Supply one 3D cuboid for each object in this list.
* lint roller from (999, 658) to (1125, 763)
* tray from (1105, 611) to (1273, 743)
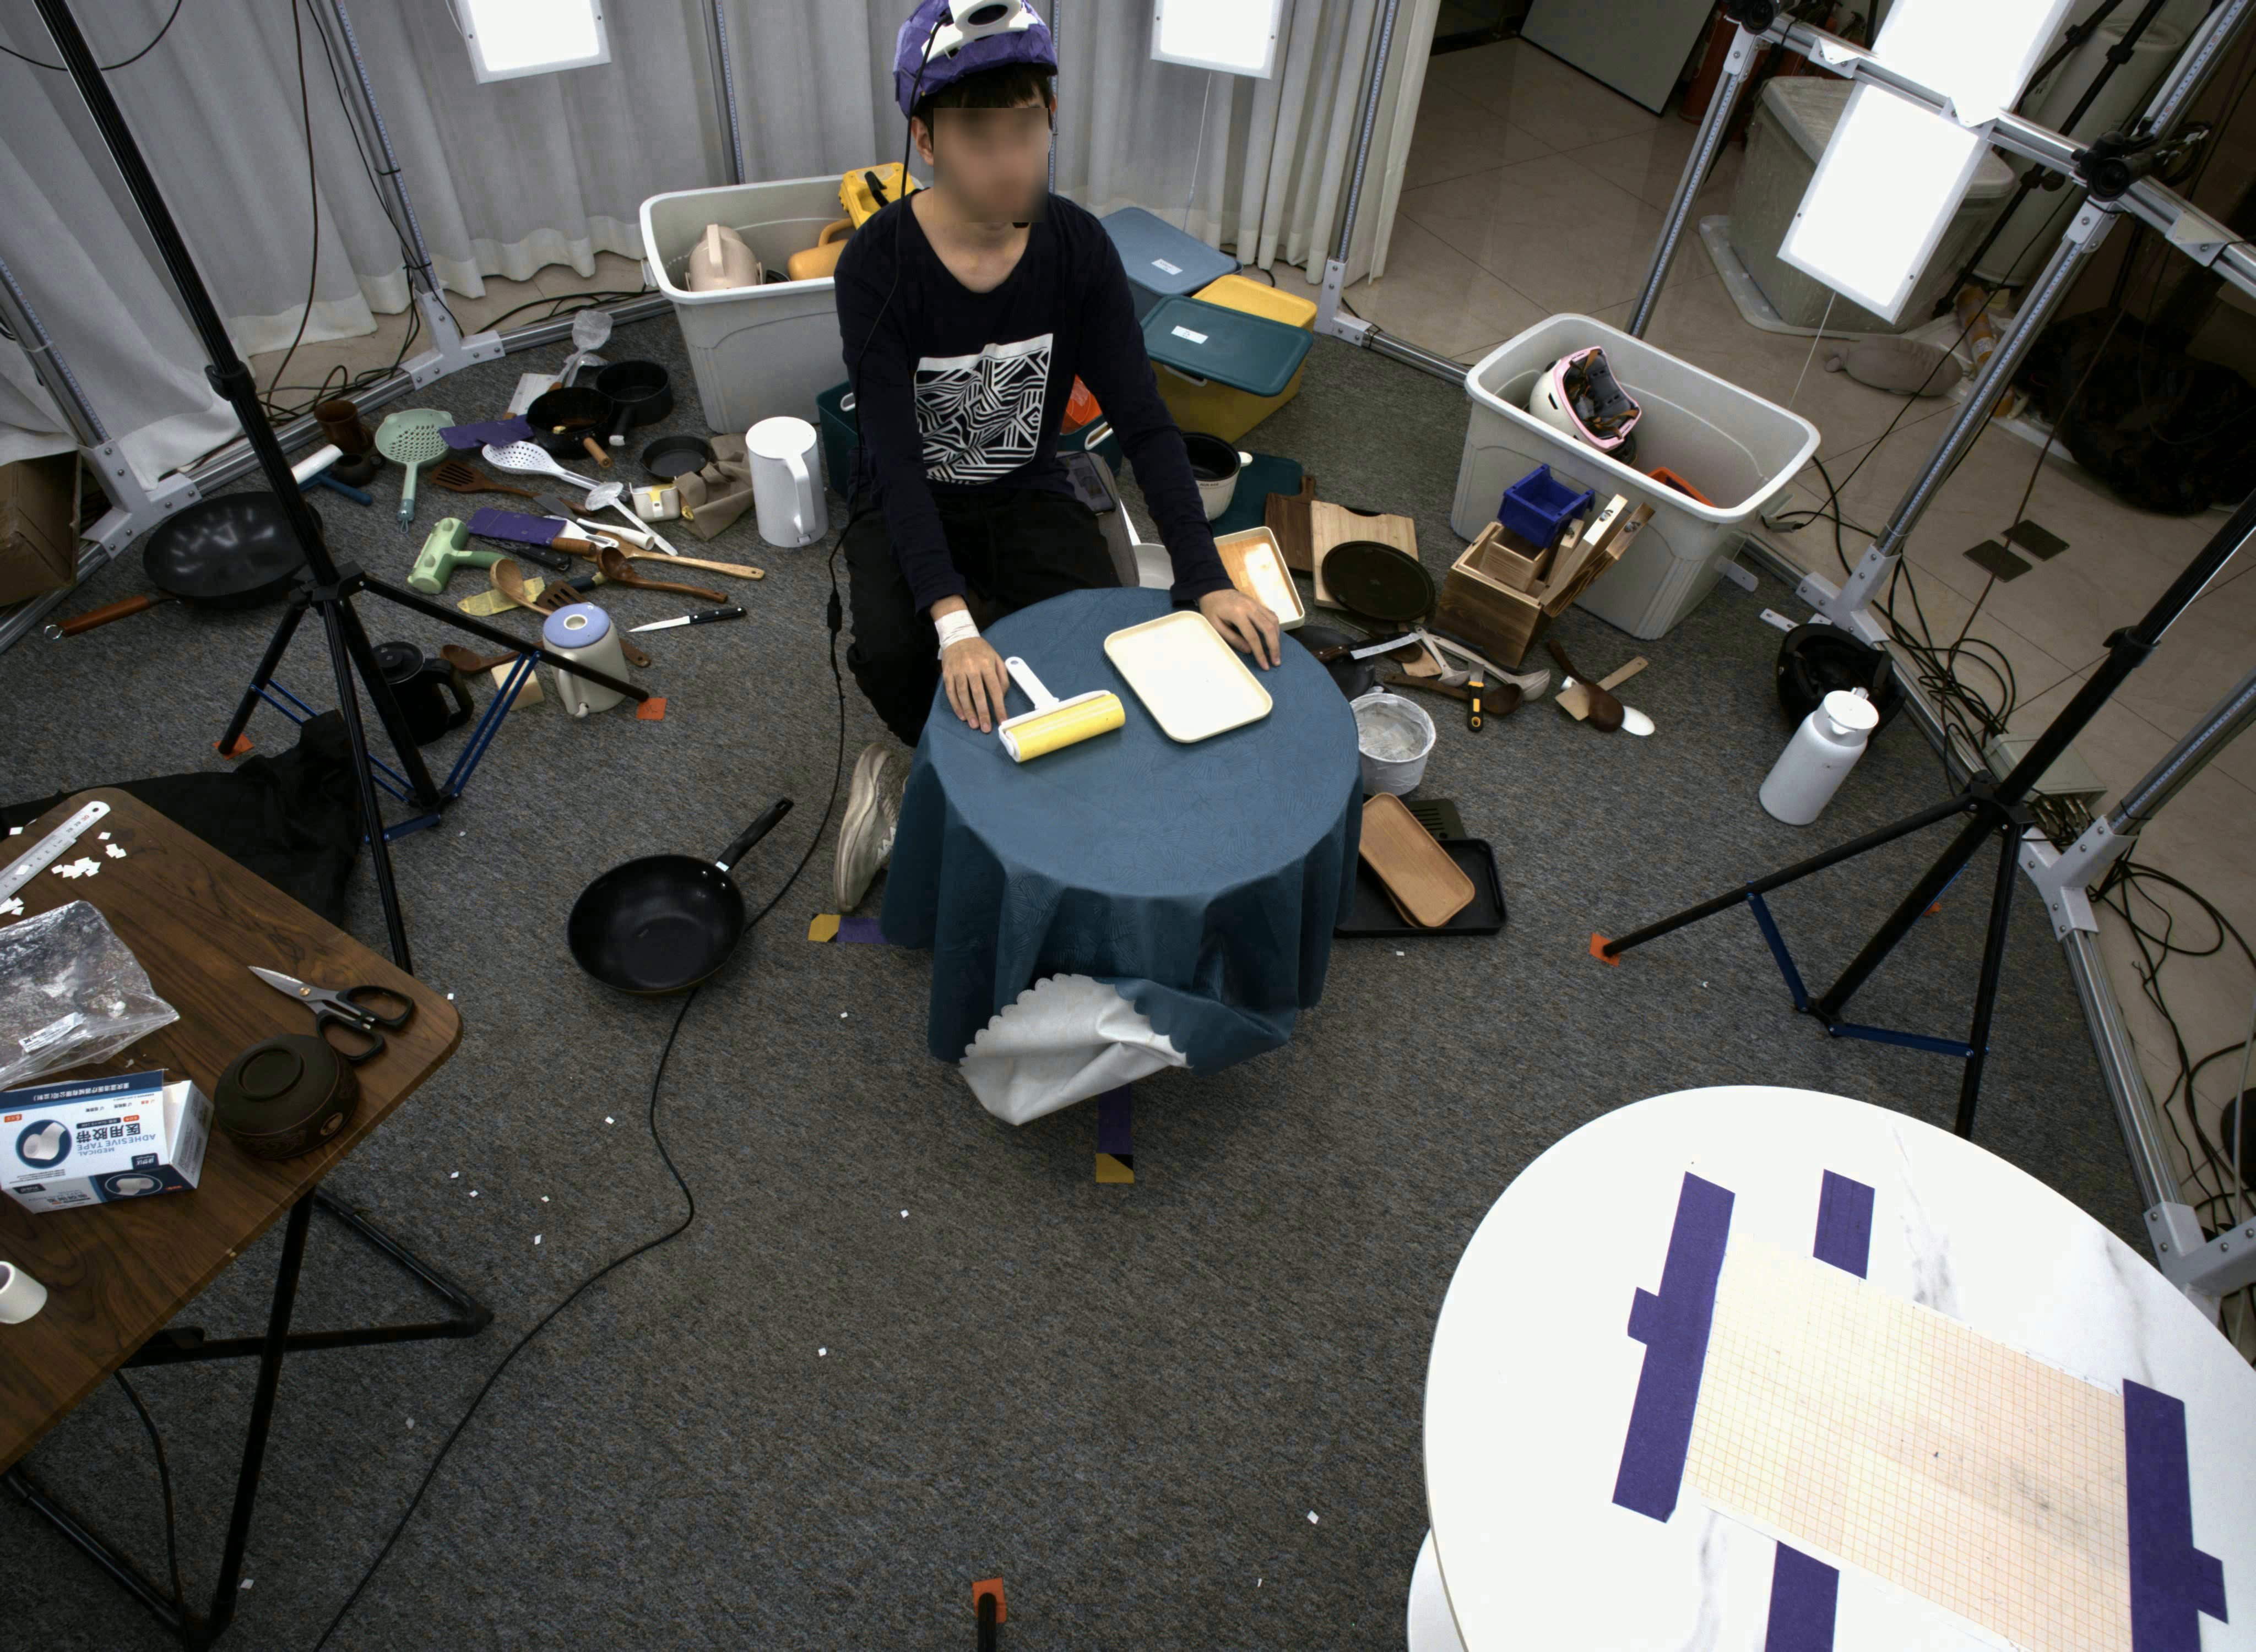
[{"bbox_3d":[-0.121,-0.183,1.786,0.175,0.050,0.196,-22,57,-22],"label":"lint roller"},{"bbox_3d":[0.085,-0.216,1.849,0.171,0.017,0.245,-20,53,-20],"label":"tray"}]
